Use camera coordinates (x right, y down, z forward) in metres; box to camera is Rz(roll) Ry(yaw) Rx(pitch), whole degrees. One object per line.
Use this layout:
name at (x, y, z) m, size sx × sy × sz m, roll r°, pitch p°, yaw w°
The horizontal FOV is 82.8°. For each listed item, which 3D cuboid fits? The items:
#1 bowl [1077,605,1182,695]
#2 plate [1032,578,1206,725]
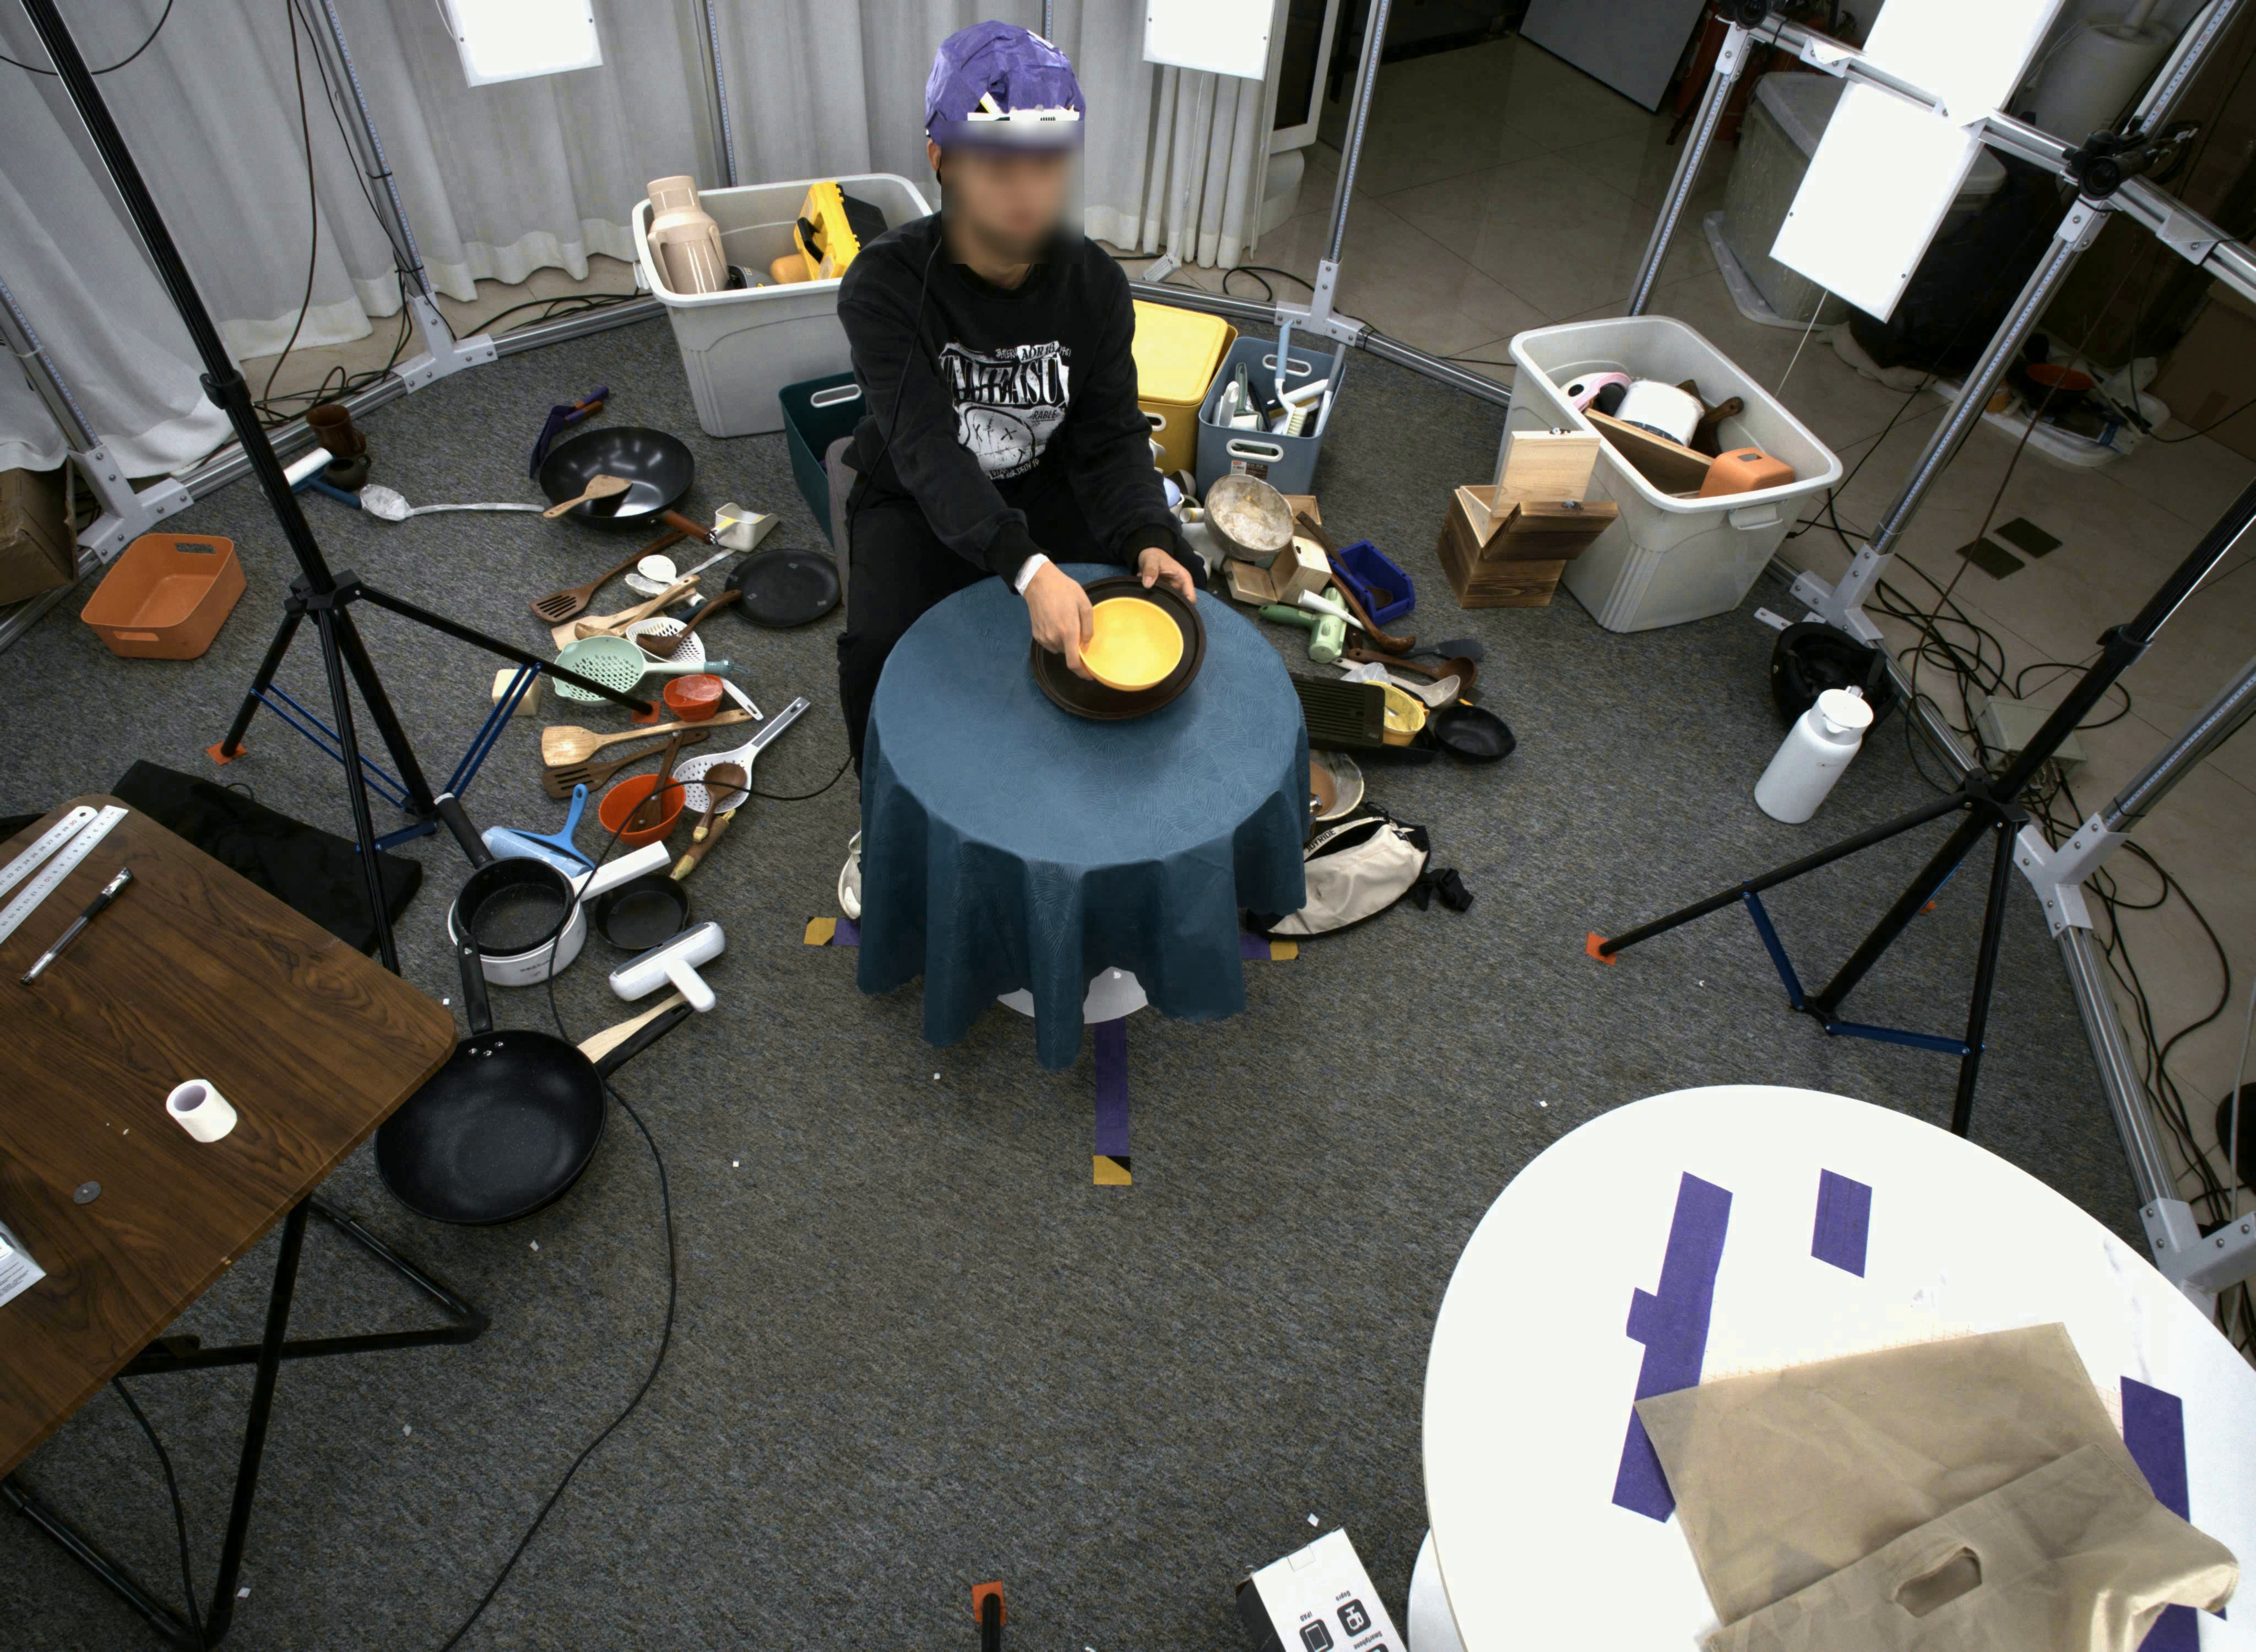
bowl at (-0.002, -0.230, 1.761) m, size 0.145 × 0.059 × 0.149 m, roll 4°, pitch 56°, yaw -7°
plate at (-0.012, -0.252, 1.851) m, size 0.255 × 0.028 × 0.260 m, roll -5°, pitch 59°, yaw 9°
